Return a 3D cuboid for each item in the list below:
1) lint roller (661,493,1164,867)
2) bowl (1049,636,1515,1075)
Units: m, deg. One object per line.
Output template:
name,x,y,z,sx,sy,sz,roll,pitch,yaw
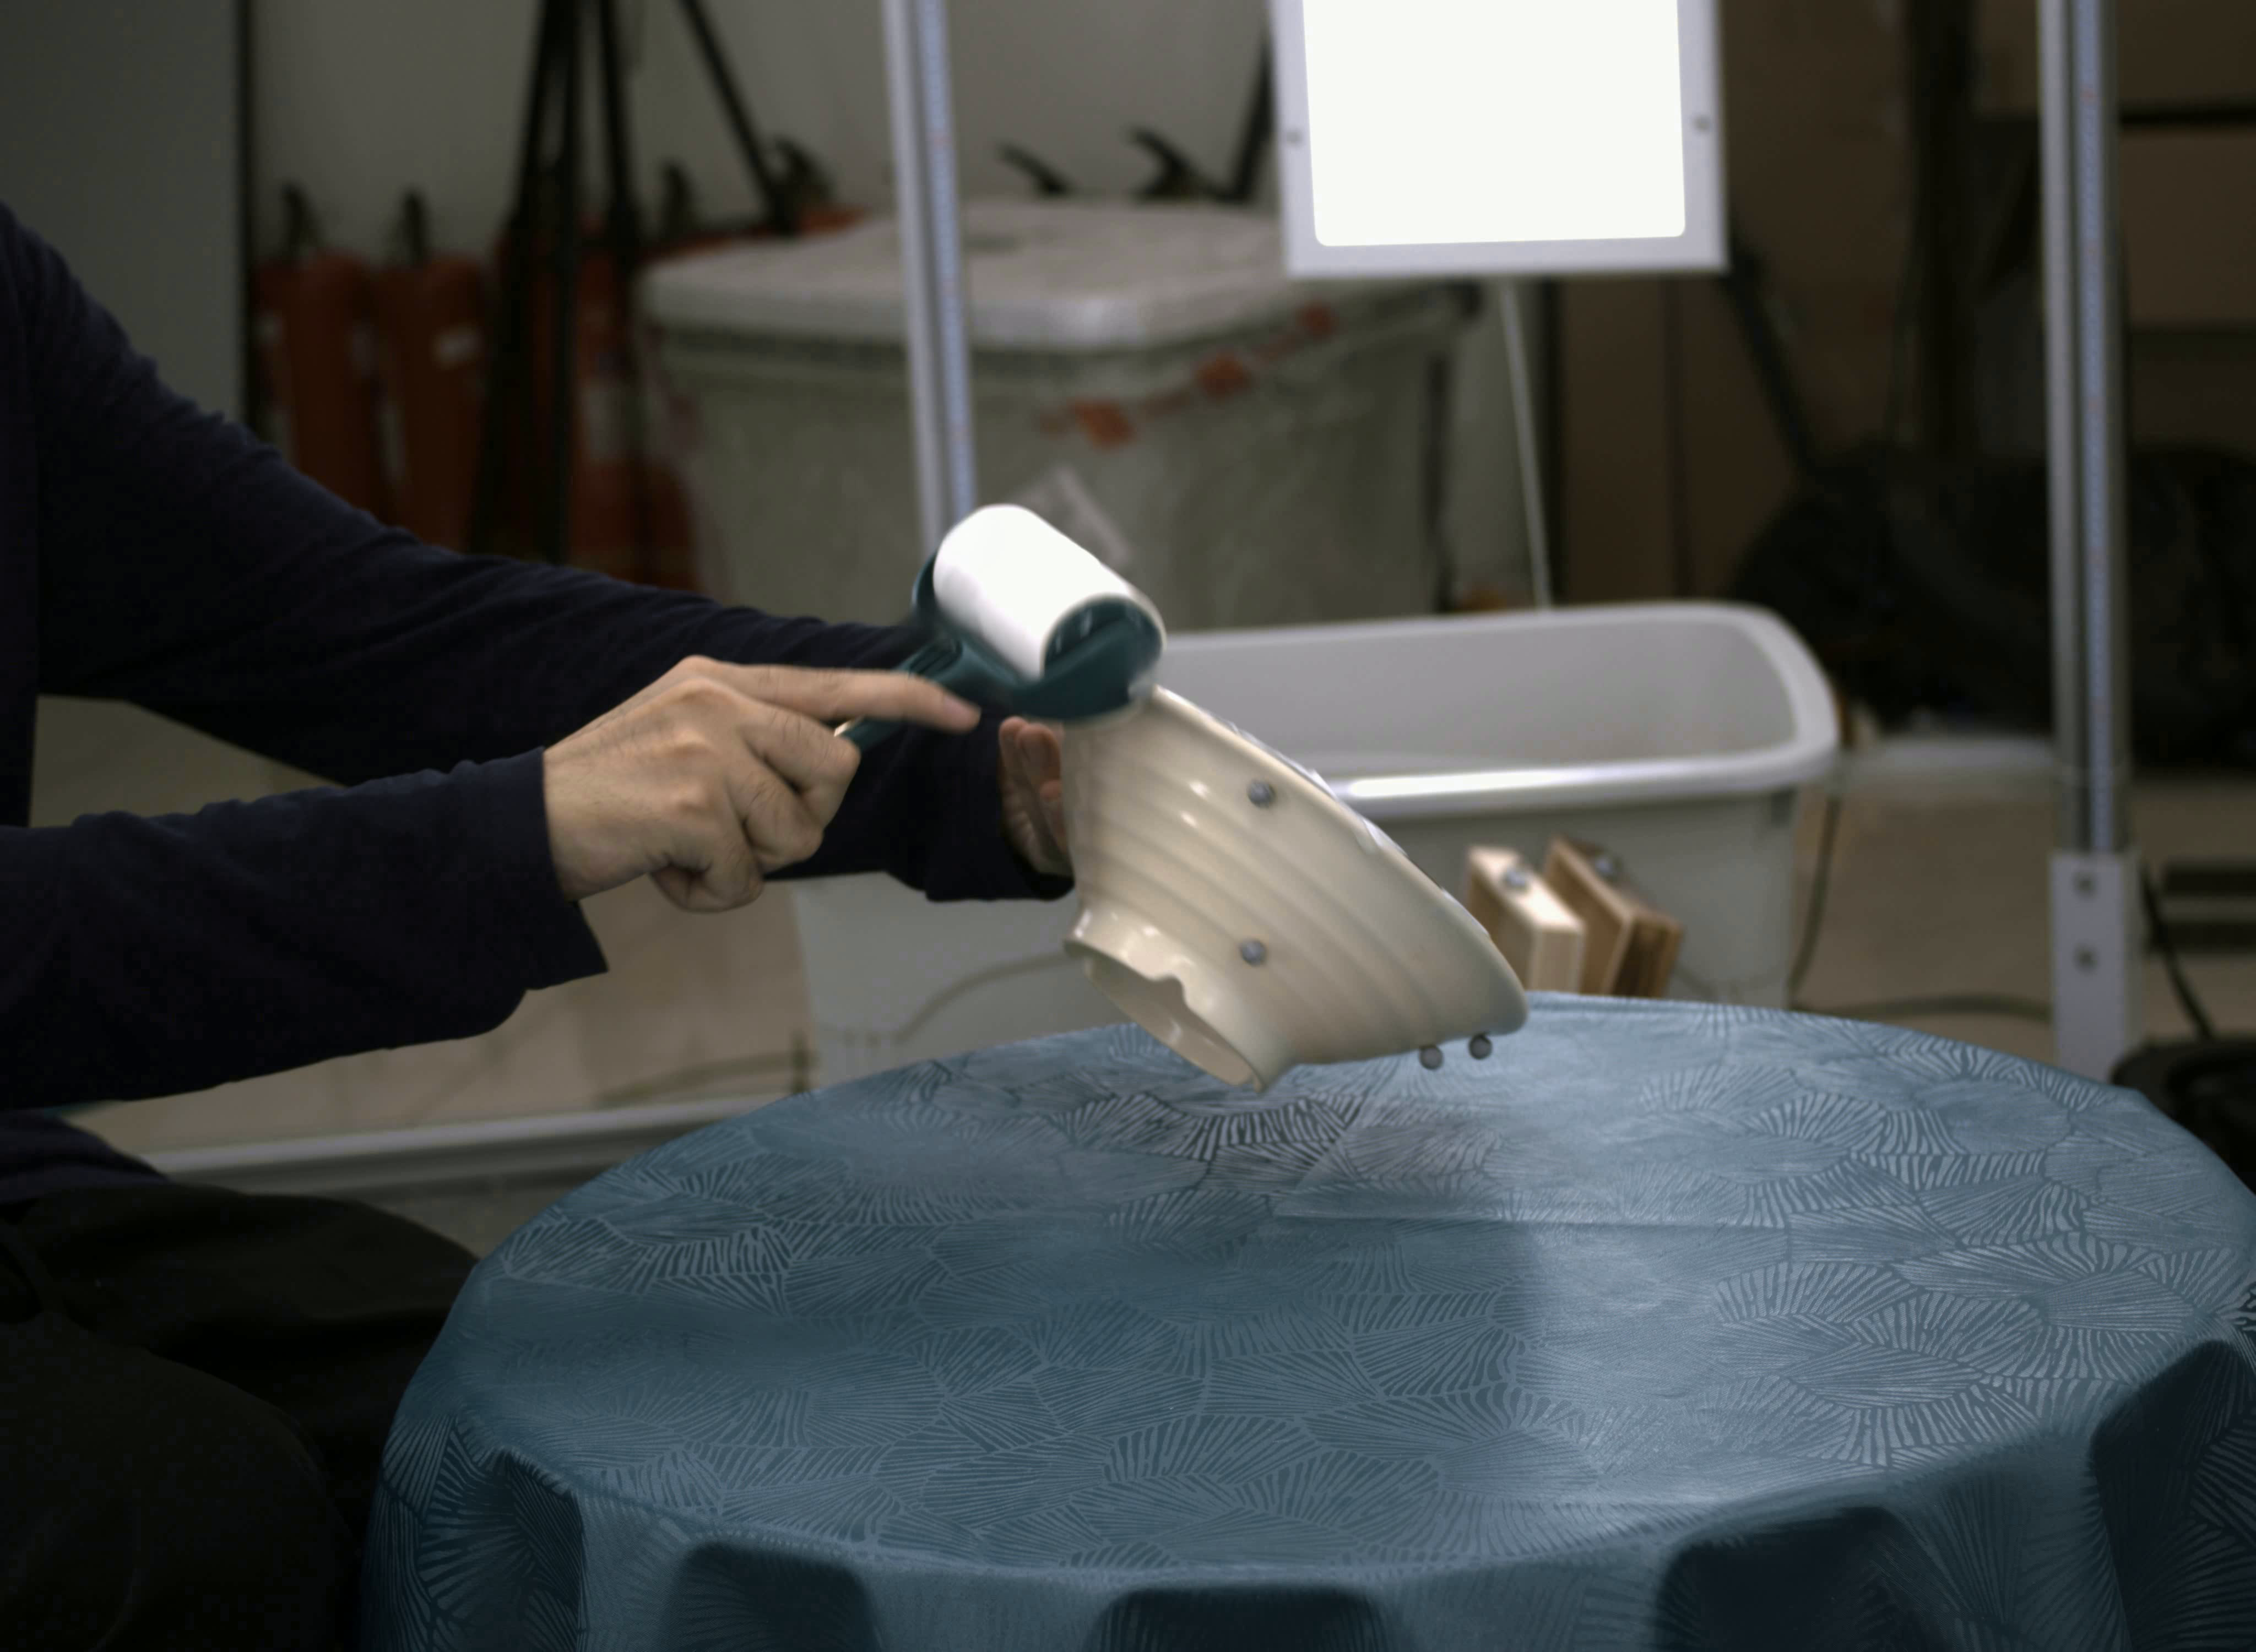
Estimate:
lint roller,-0.085,-0.047,1.849,0.178,0.048,0.136,-28,25,-11
bowl,0.031,0.029,1.891,0.077,0.202,0.208,-49,31,-17
